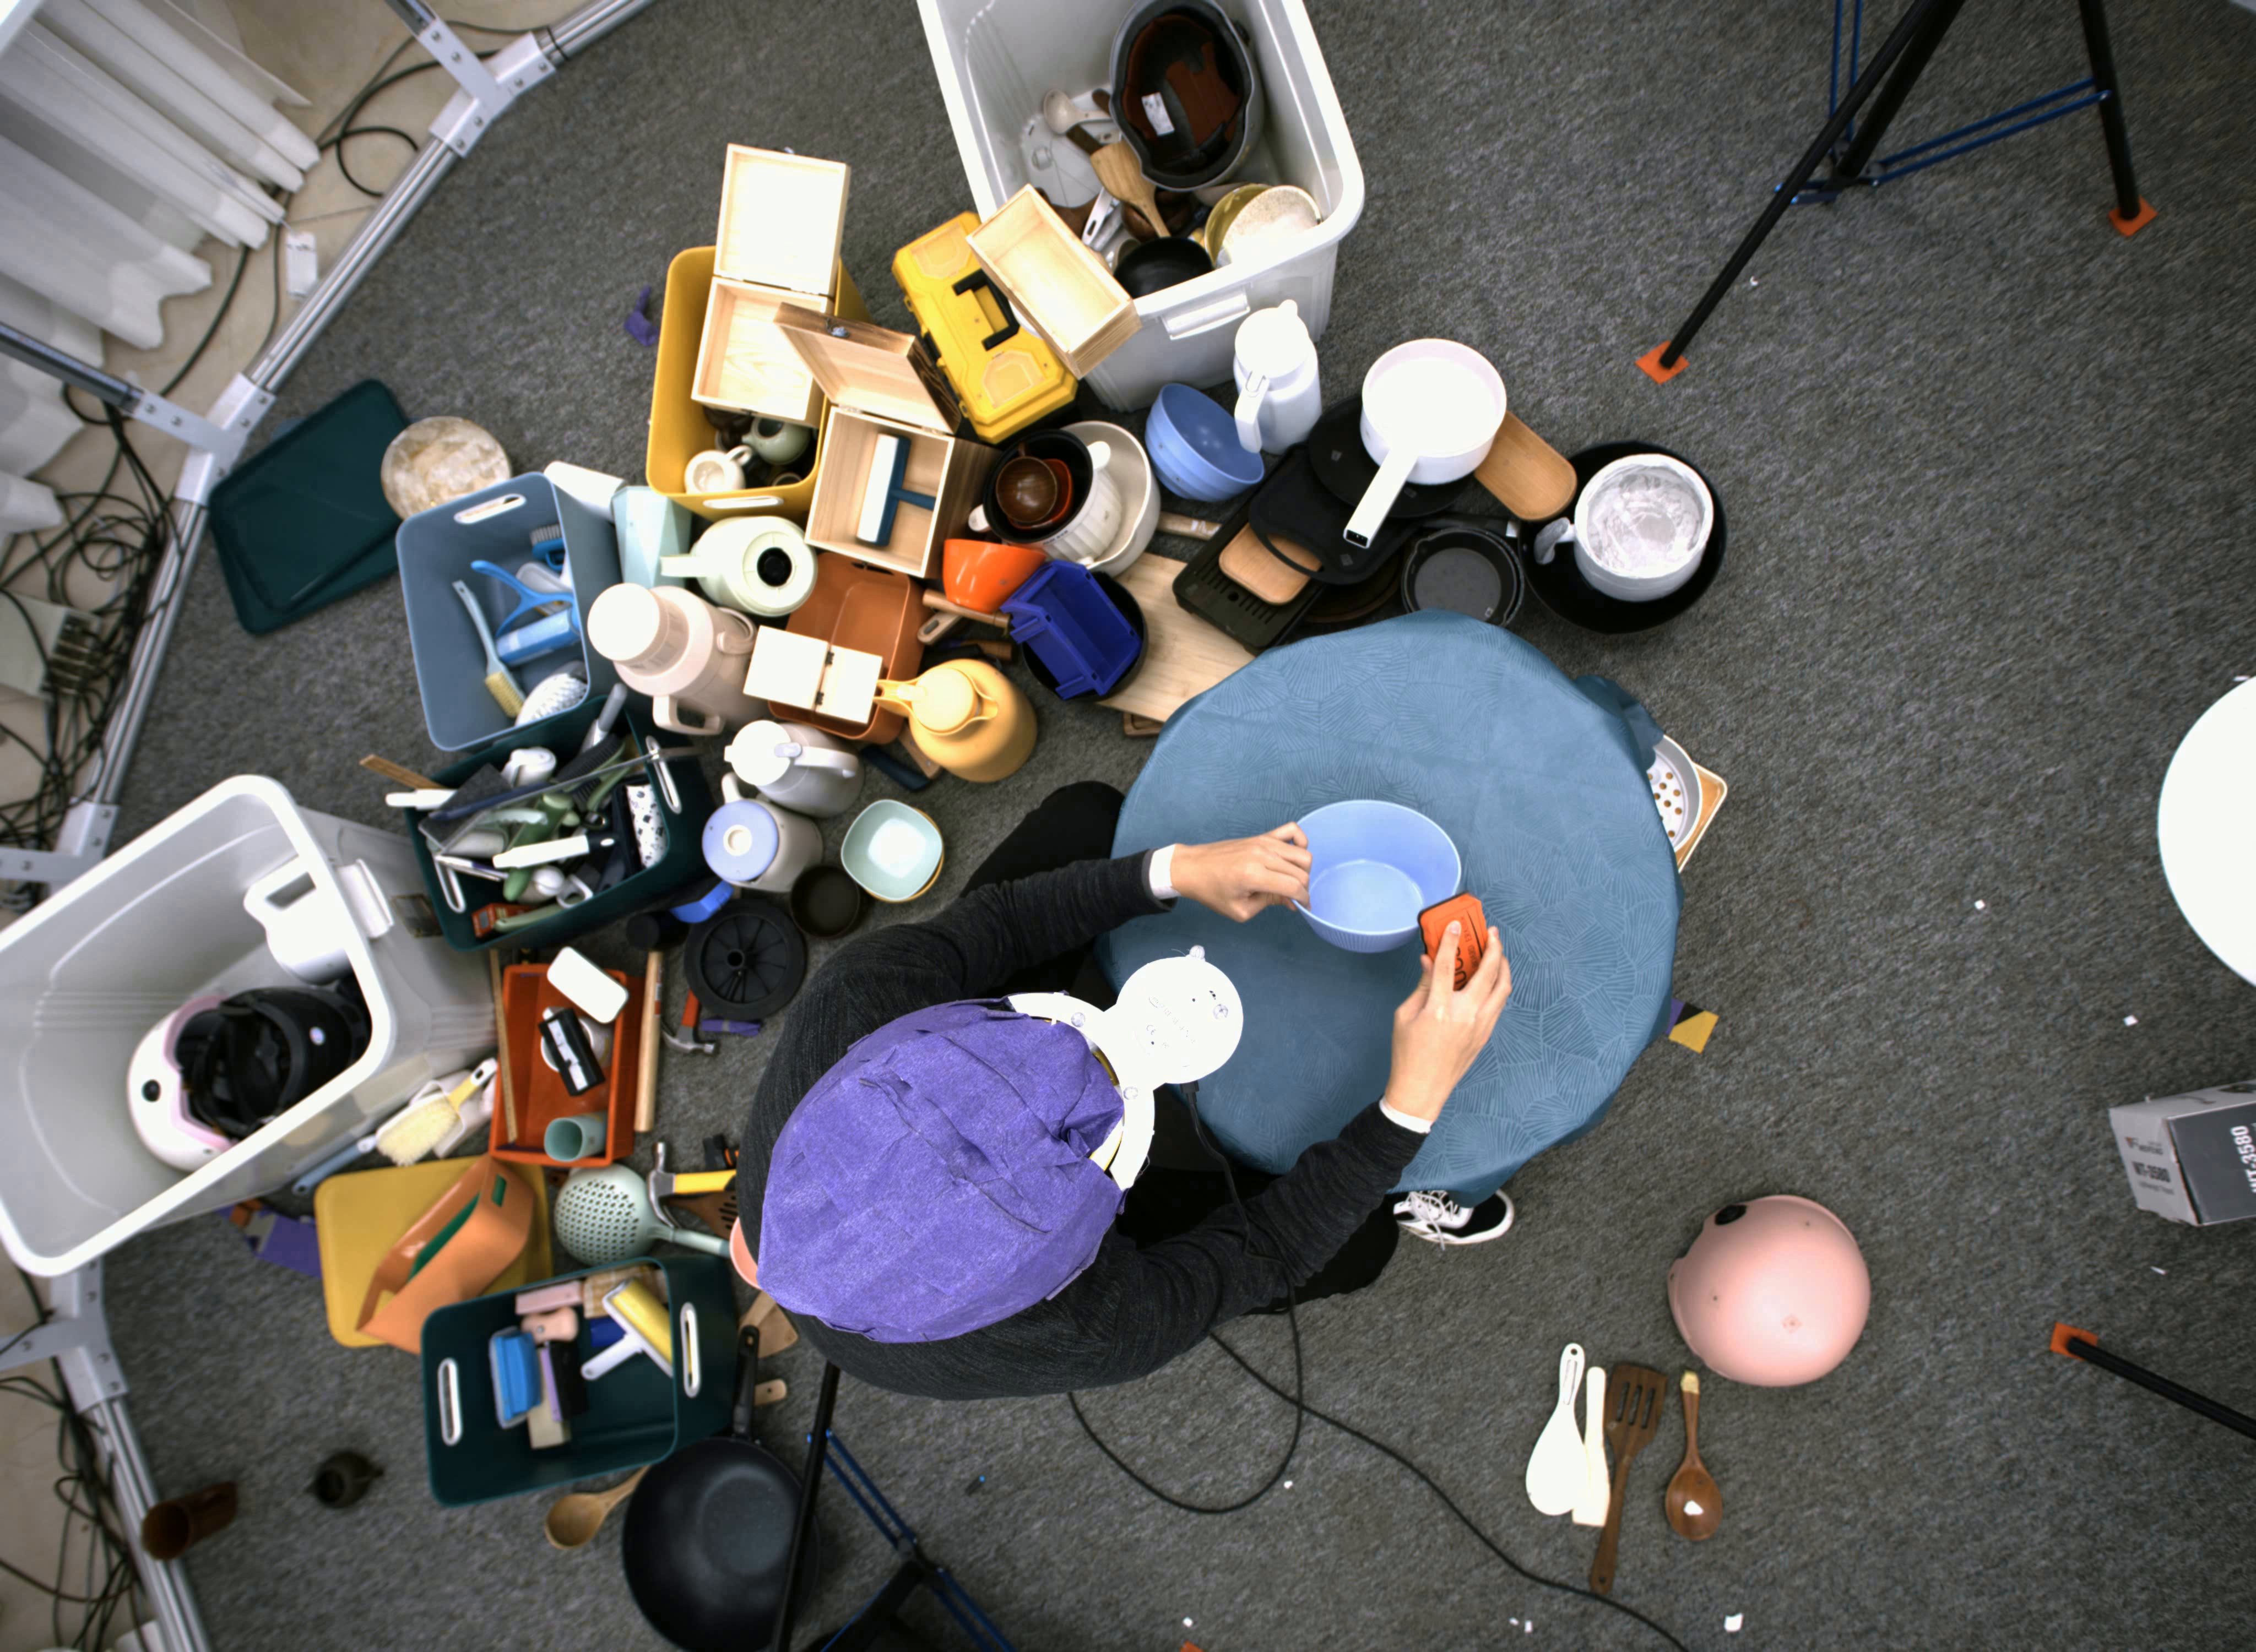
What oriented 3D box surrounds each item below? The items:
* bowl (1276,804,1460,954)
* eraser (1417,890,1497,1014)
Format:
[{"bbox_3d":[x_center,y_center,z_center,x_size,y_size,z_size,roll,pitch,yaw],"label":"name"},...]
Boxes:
[{"bbox_3d":[0.233,0.059,1.355,0.176,0.072,0.171,-3,46,3],"label":"bowl"},{"bbox_3d":[0.307,0.116,1.283,0.058,0.022,0.109,-22,113,-11],"label":"eraser"}]
